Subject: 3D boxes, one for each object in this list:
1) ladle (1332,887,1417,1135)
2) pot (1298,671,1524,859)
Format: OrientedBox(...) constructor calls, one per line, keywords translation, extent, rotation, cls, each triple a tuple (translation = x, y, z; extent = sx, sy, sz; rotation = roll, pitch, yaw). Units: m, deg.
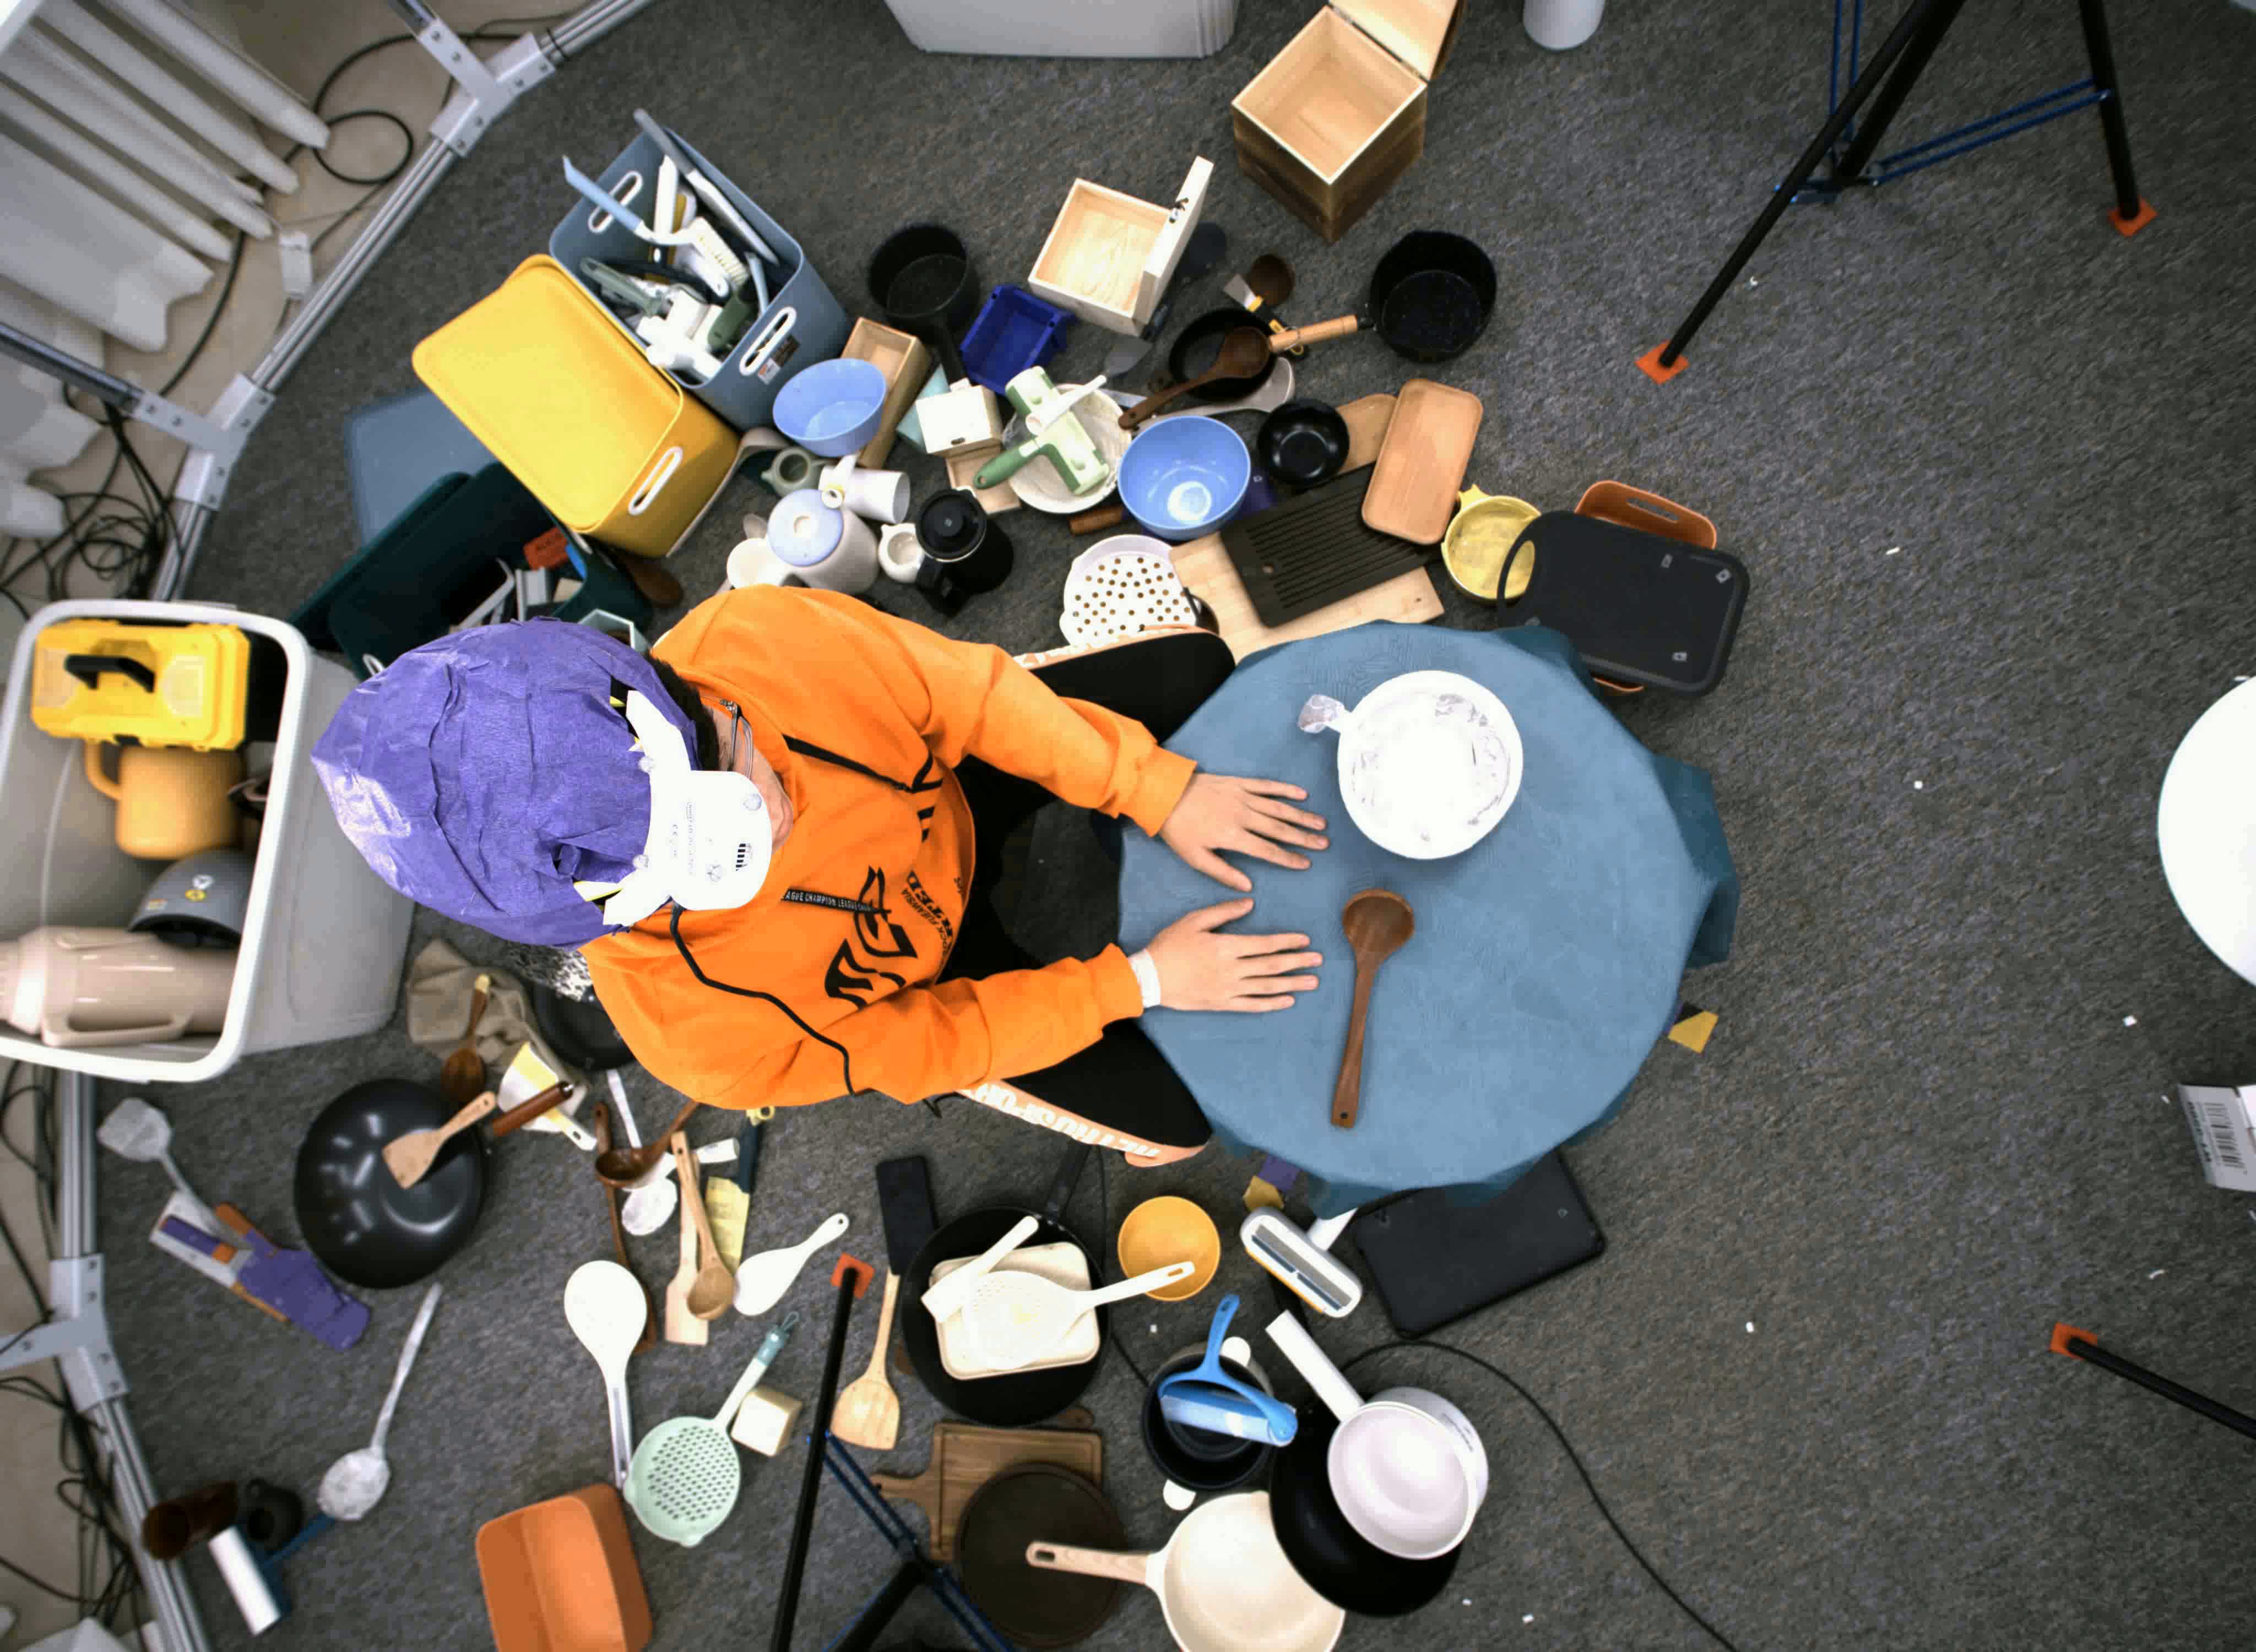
OrientedBox(translation=(0.242, 0.191, 1.426), extent=(0.076, 0.065, 0.259), rotation=(11, 88, 14), cls="ladle")
OrientedBox(translation=(0.278, -0.071, 1.396), extent=(0.233, 0.137, 0.179), rotation=(27, 90, 11), cls="pot")
